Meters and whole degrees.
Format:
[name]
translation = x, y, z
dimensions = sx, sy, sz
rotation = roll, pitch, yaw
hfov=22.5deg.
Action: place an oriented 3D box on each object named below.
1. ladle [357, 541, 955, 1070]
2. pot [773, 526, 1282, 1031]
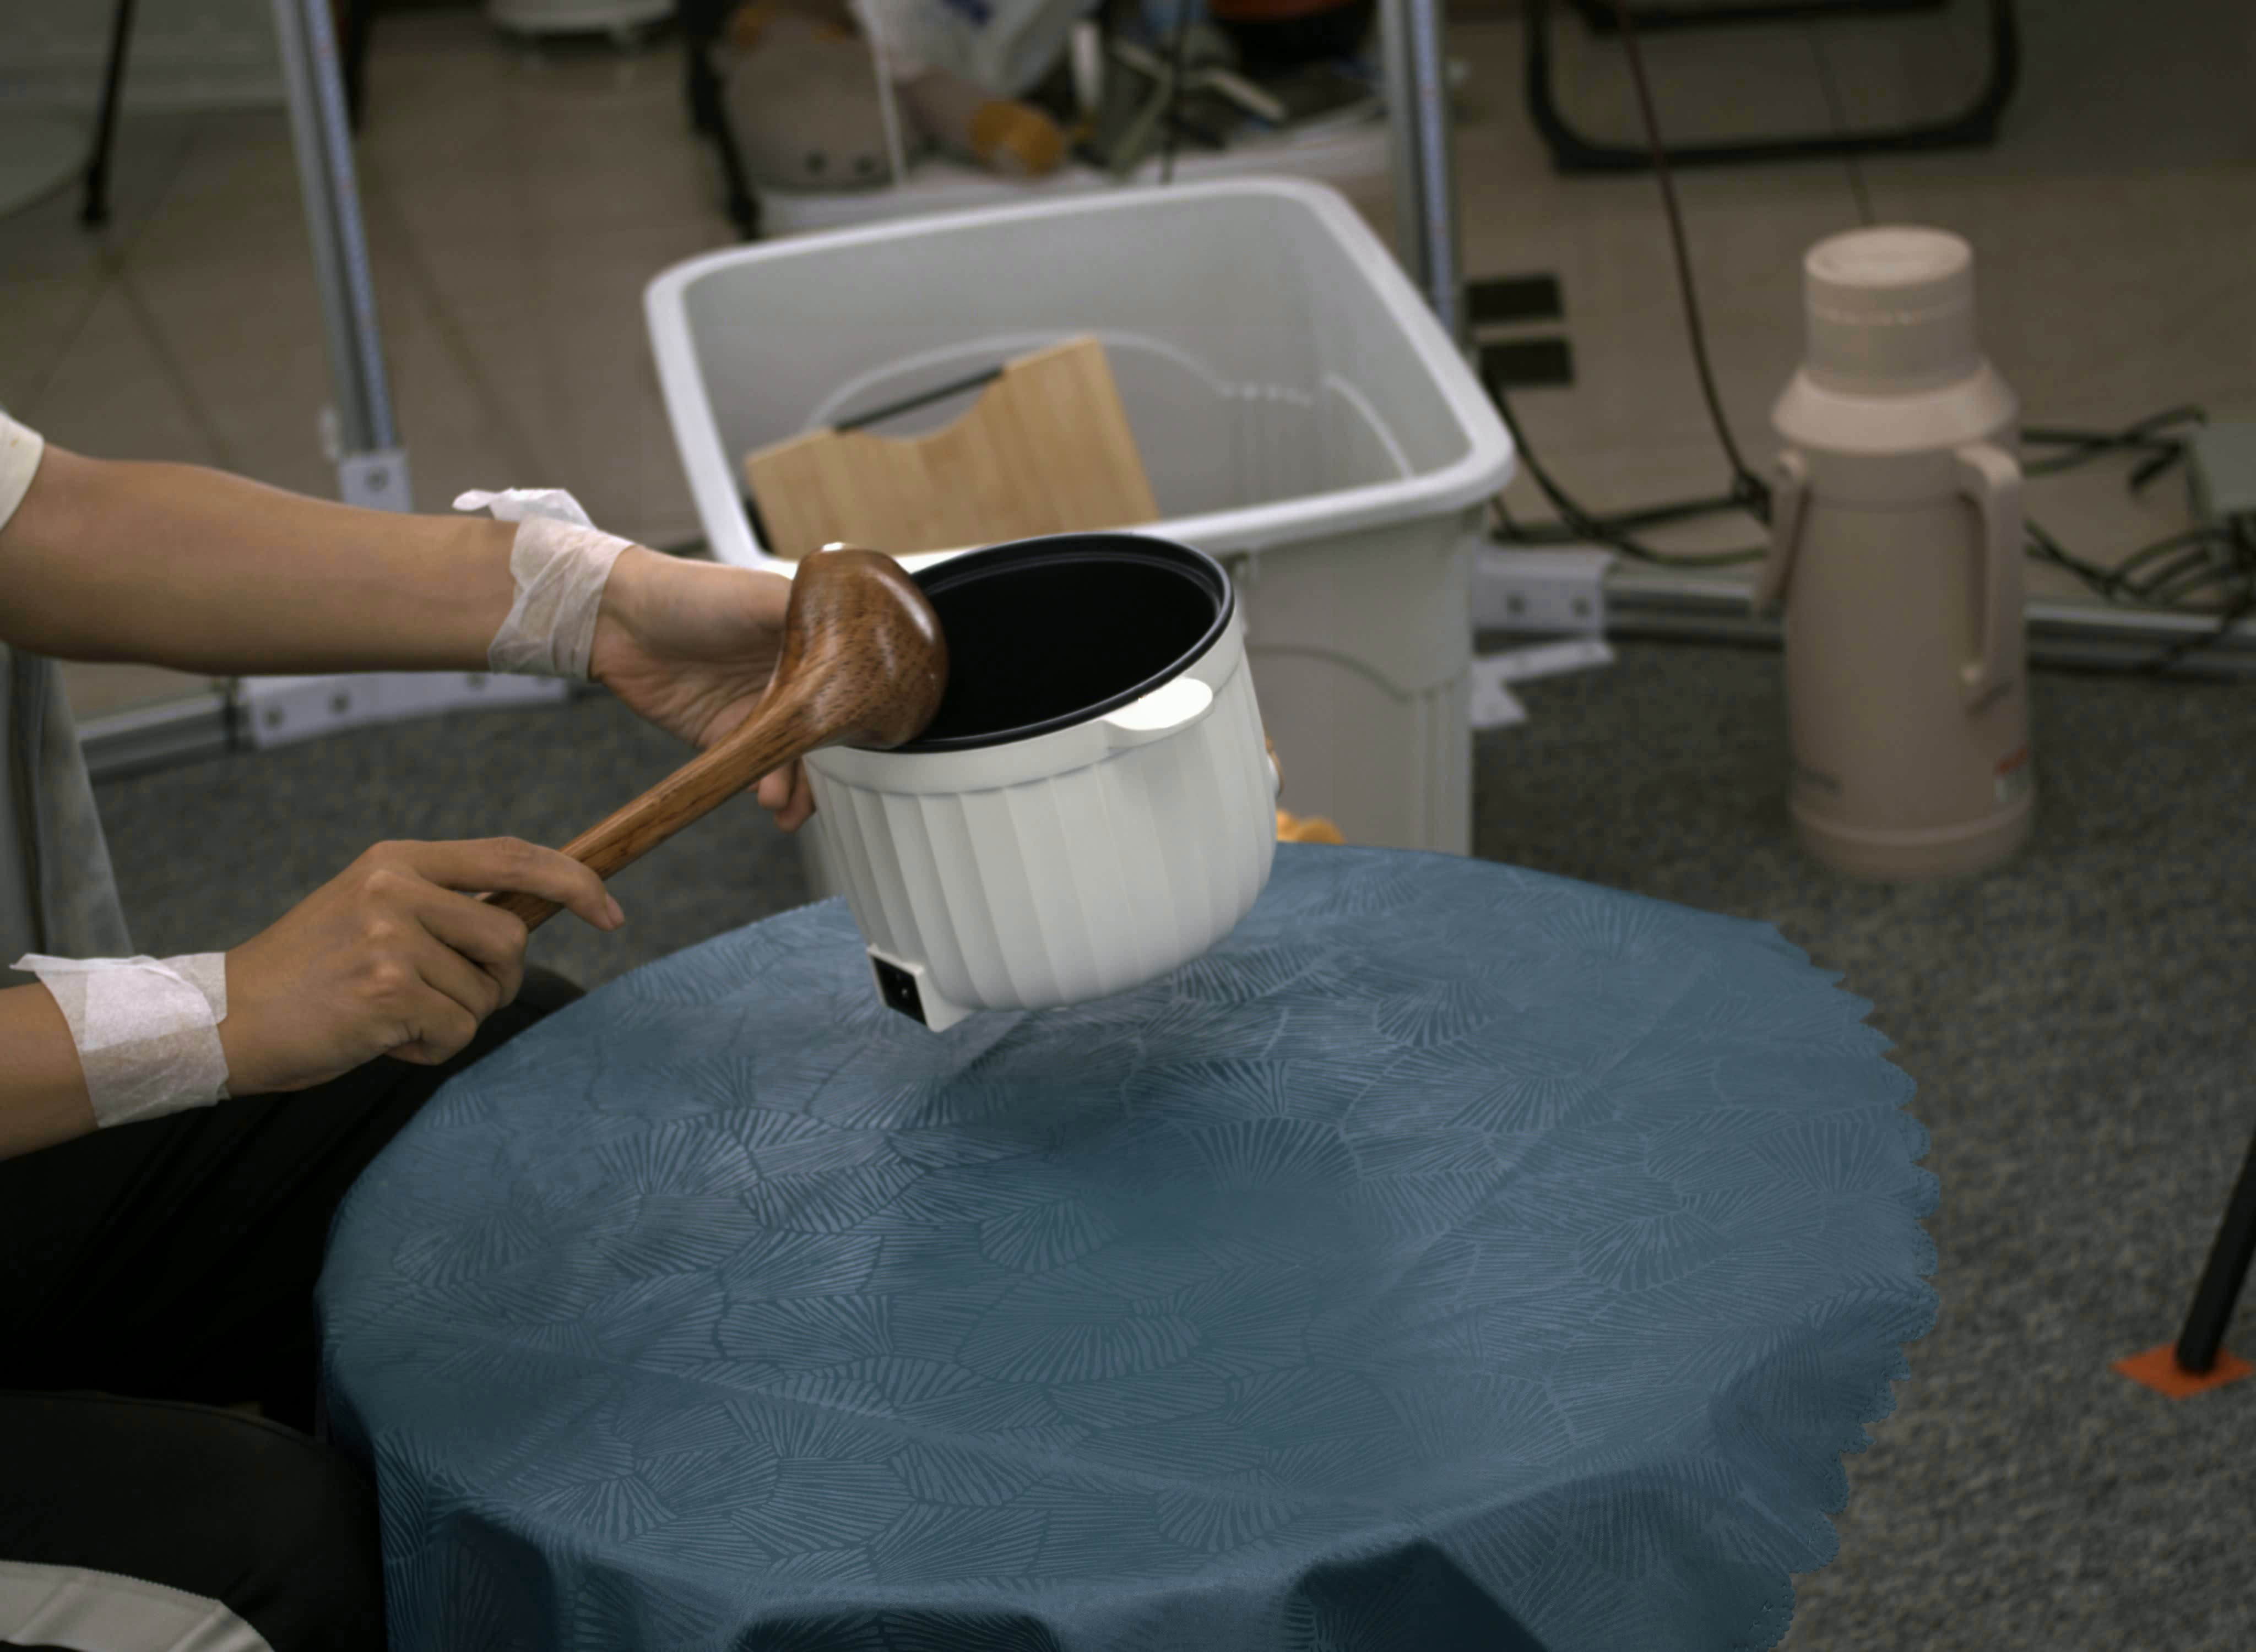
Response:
[ladle]
translation = -0.180, -0.007, 2.108
dimensions = 0.273, 0.082, 0.076
rotation = -37, 14, -8
[pot]
translation = -0.030, -0.020, 2.237
dimensions = 0.189, 0.145, 0.238
rotation = -32, 33, -25
